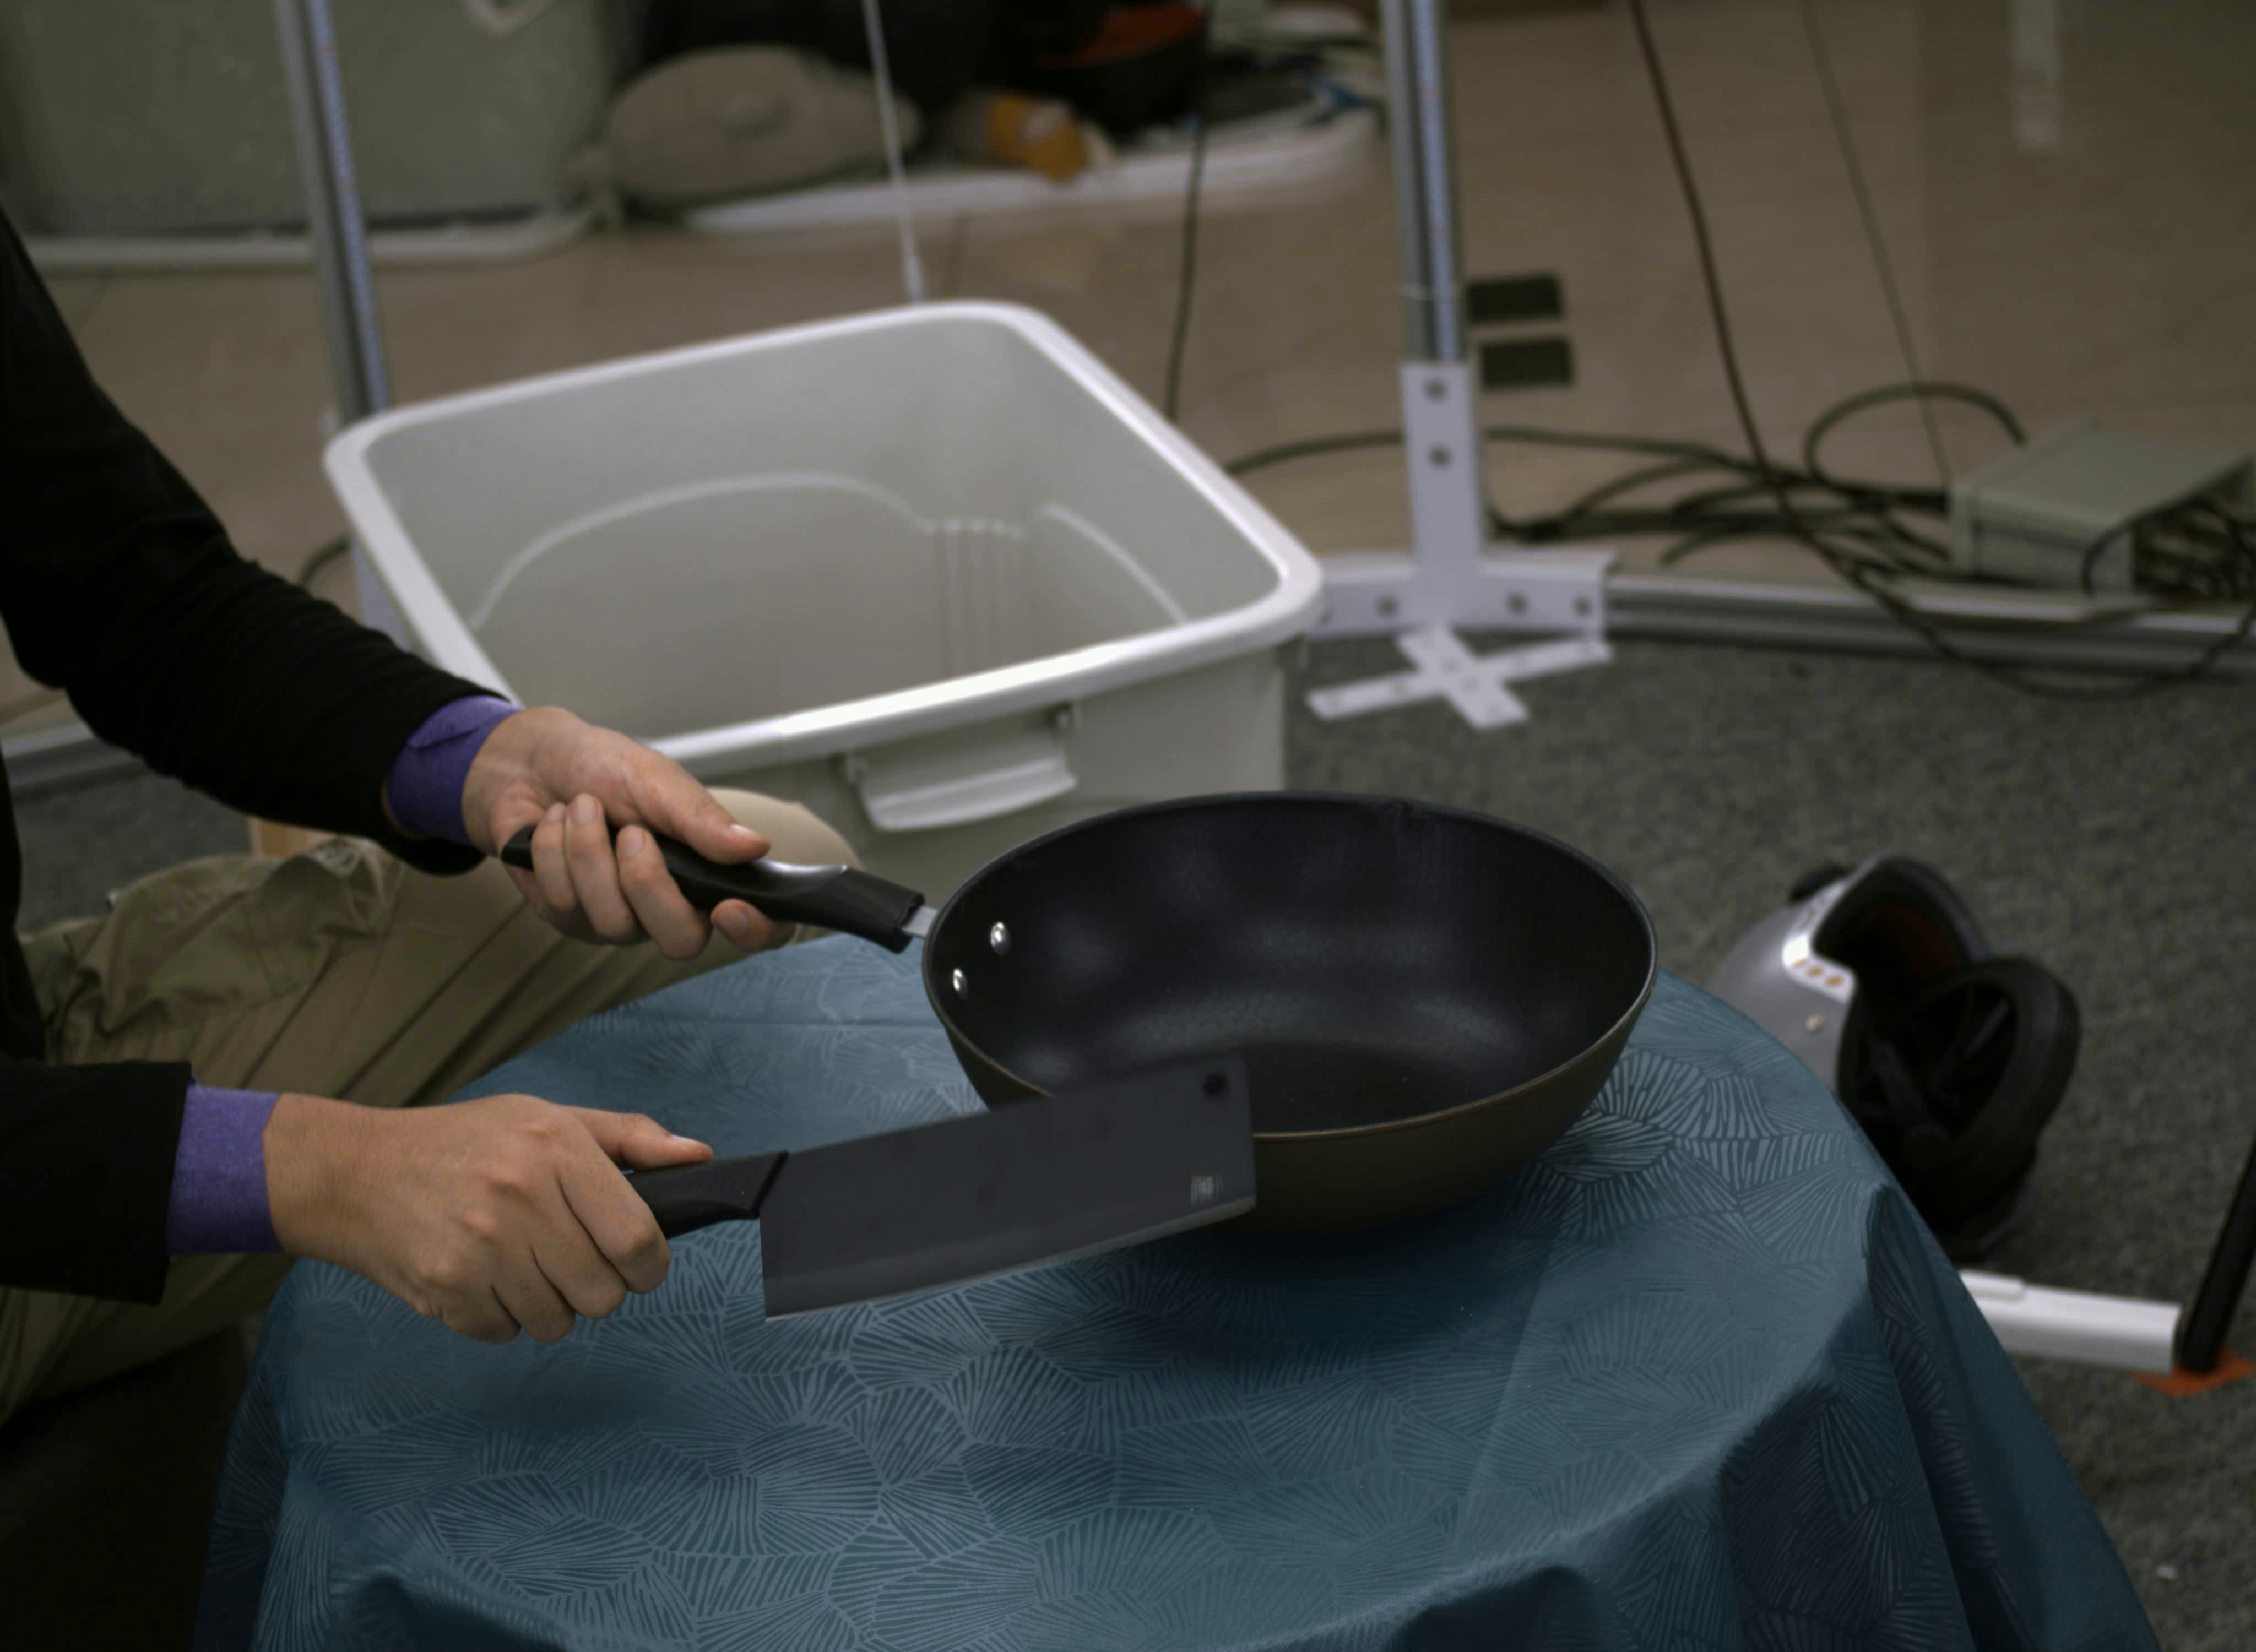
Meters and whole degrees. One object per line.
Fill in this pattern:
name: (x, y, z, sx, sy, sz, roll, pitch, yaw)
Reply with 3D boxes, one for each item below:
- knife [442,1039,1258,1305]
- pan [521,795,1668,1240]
knife: (-0.099, 0.132, 1.993, 0.302, 0.021, 0.079, -10, 58, 14)
pan: (-0.022, 0.069, 2.175, 0.461, 0.088, 0.284, 8, 28, 19)
